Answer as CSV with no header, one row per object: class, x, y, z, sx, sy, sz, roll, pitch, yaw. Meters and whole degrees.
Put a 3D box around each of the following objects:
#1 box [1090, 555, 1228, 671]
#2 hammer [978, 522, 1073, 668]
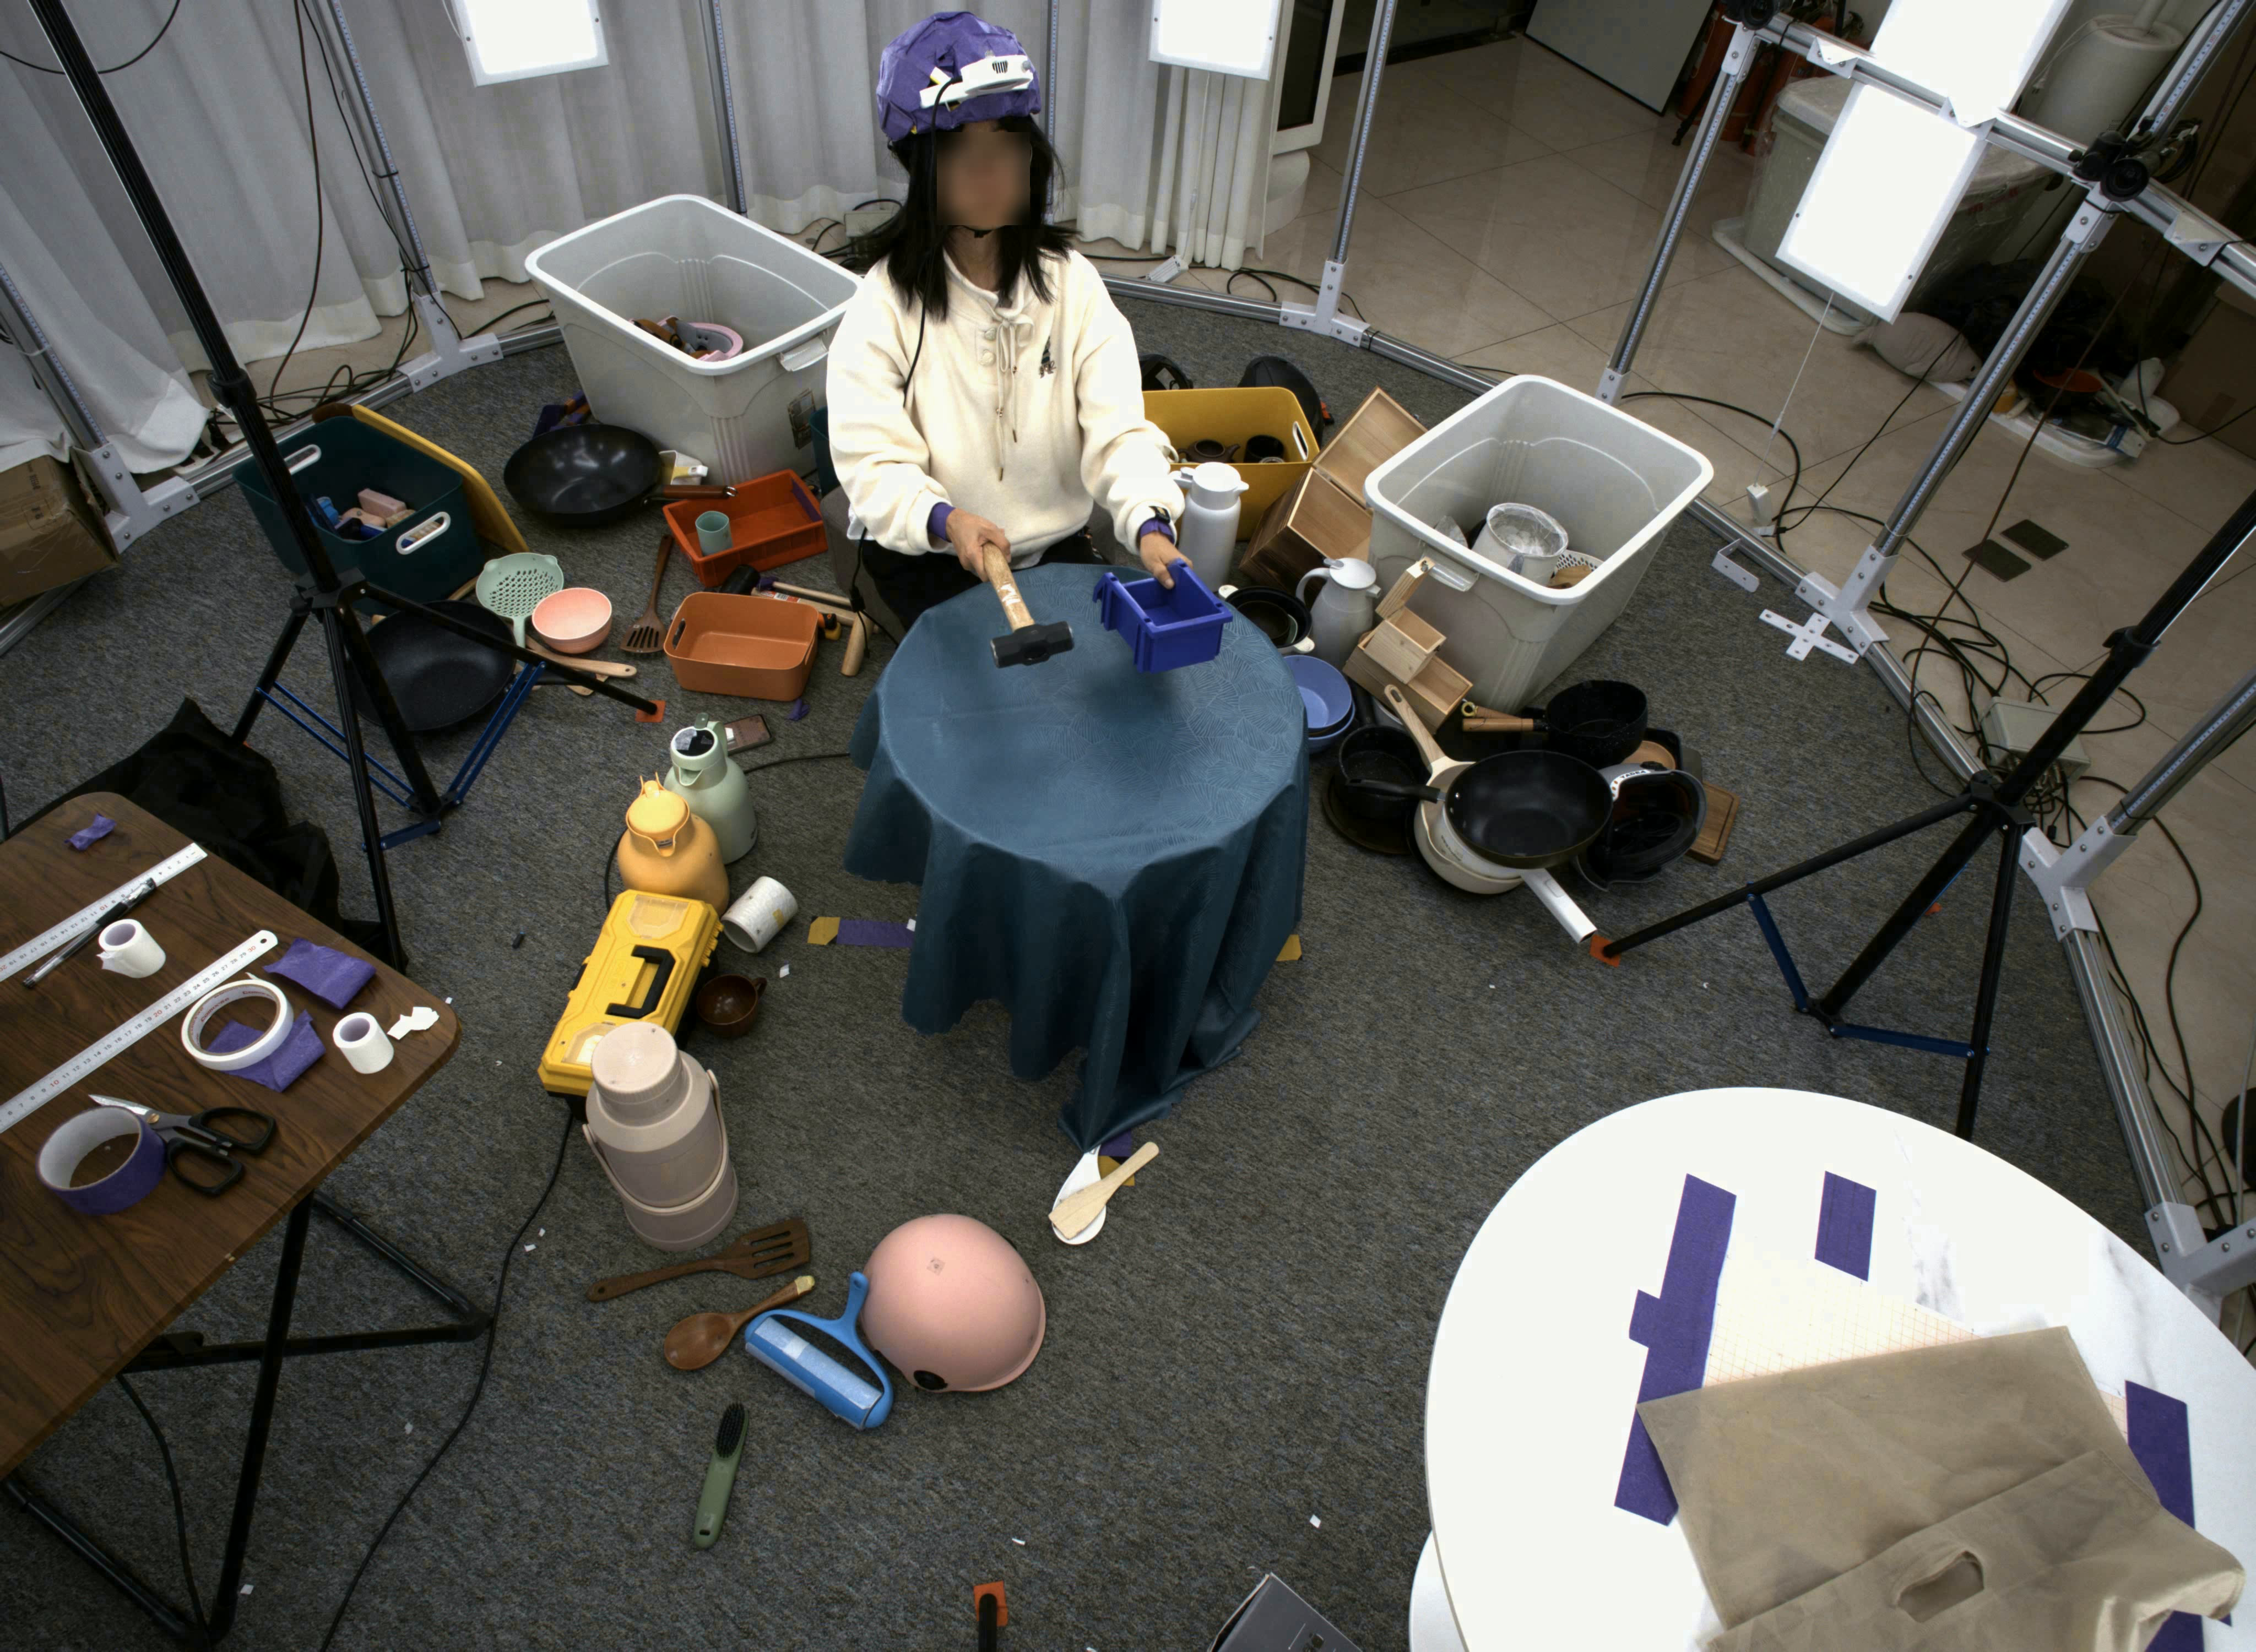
box,0.037,-0.298,1.766,0.124,0.080,0.183,-14,48,-20
hammer,-0.162,-0.326,1.765,0.107,0.037,0.313,-14,45,-7
